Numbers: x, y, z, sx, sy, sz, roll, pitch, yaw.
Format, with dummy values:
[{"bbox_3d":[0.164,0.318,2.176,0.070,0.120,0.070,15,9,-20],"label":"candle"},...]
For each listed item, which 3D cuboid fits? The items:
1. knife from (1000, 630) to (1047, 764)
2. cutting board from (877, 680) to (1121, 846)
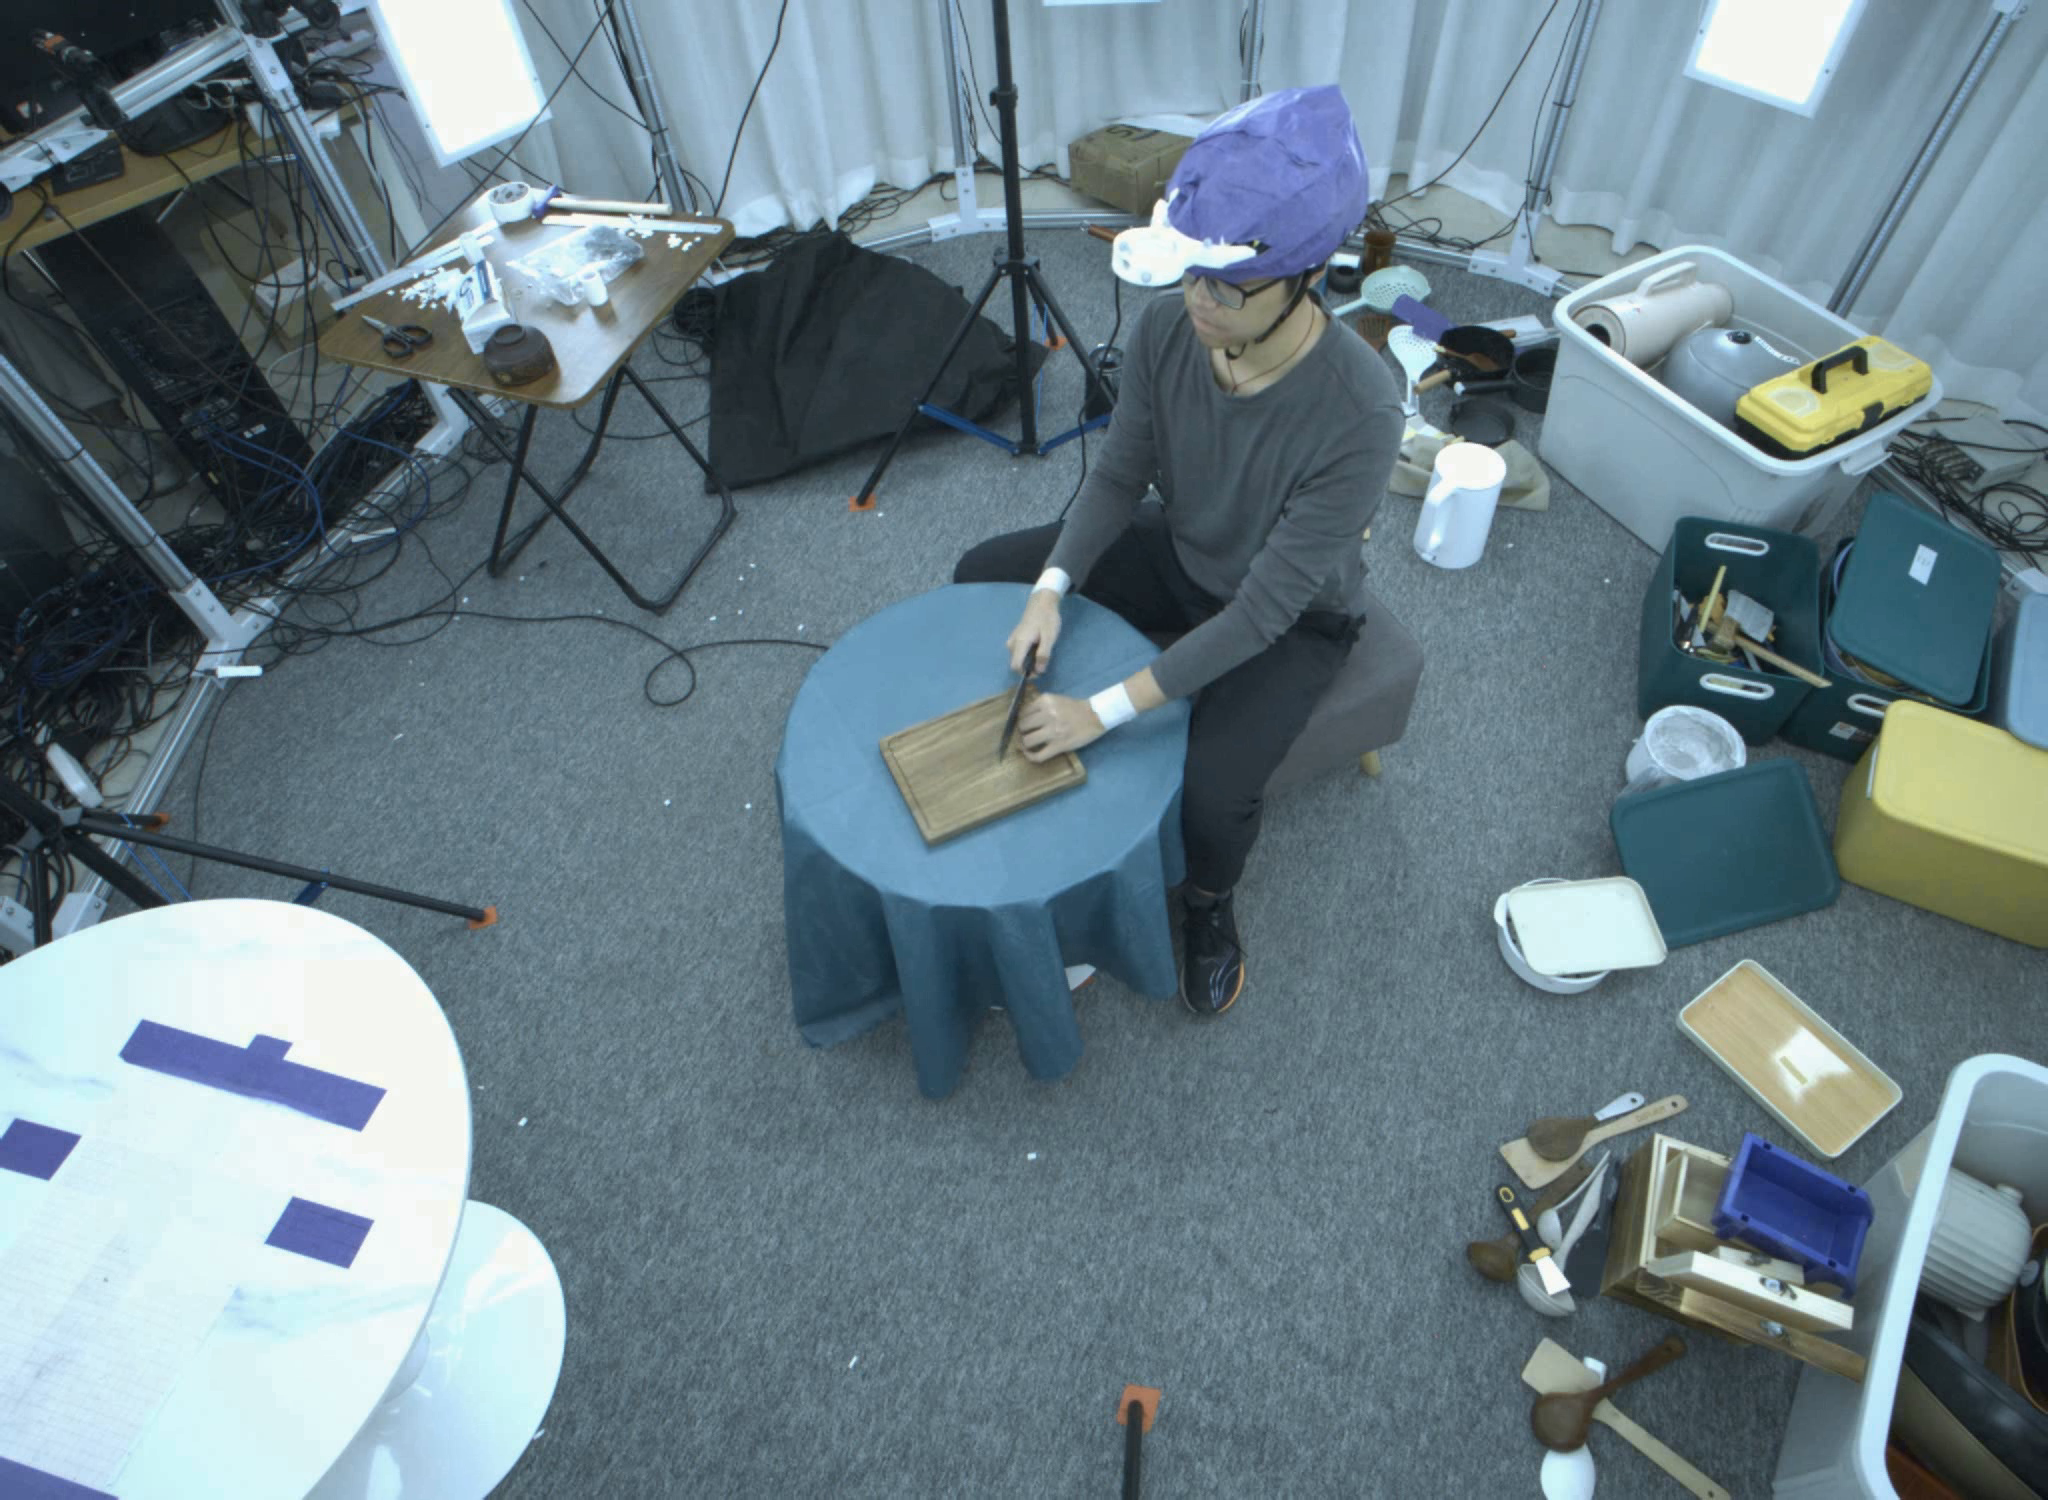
[{"bbox_3d":[-0.003,-0.086,1.780,0.021,0.081,0.301,10,39,6],"label":"knife"},{"bbox_3d":[-0.017,-0.004,1.785,0.355,0.023,0.197,-22,57,-14],"label":"cutting board"}]
